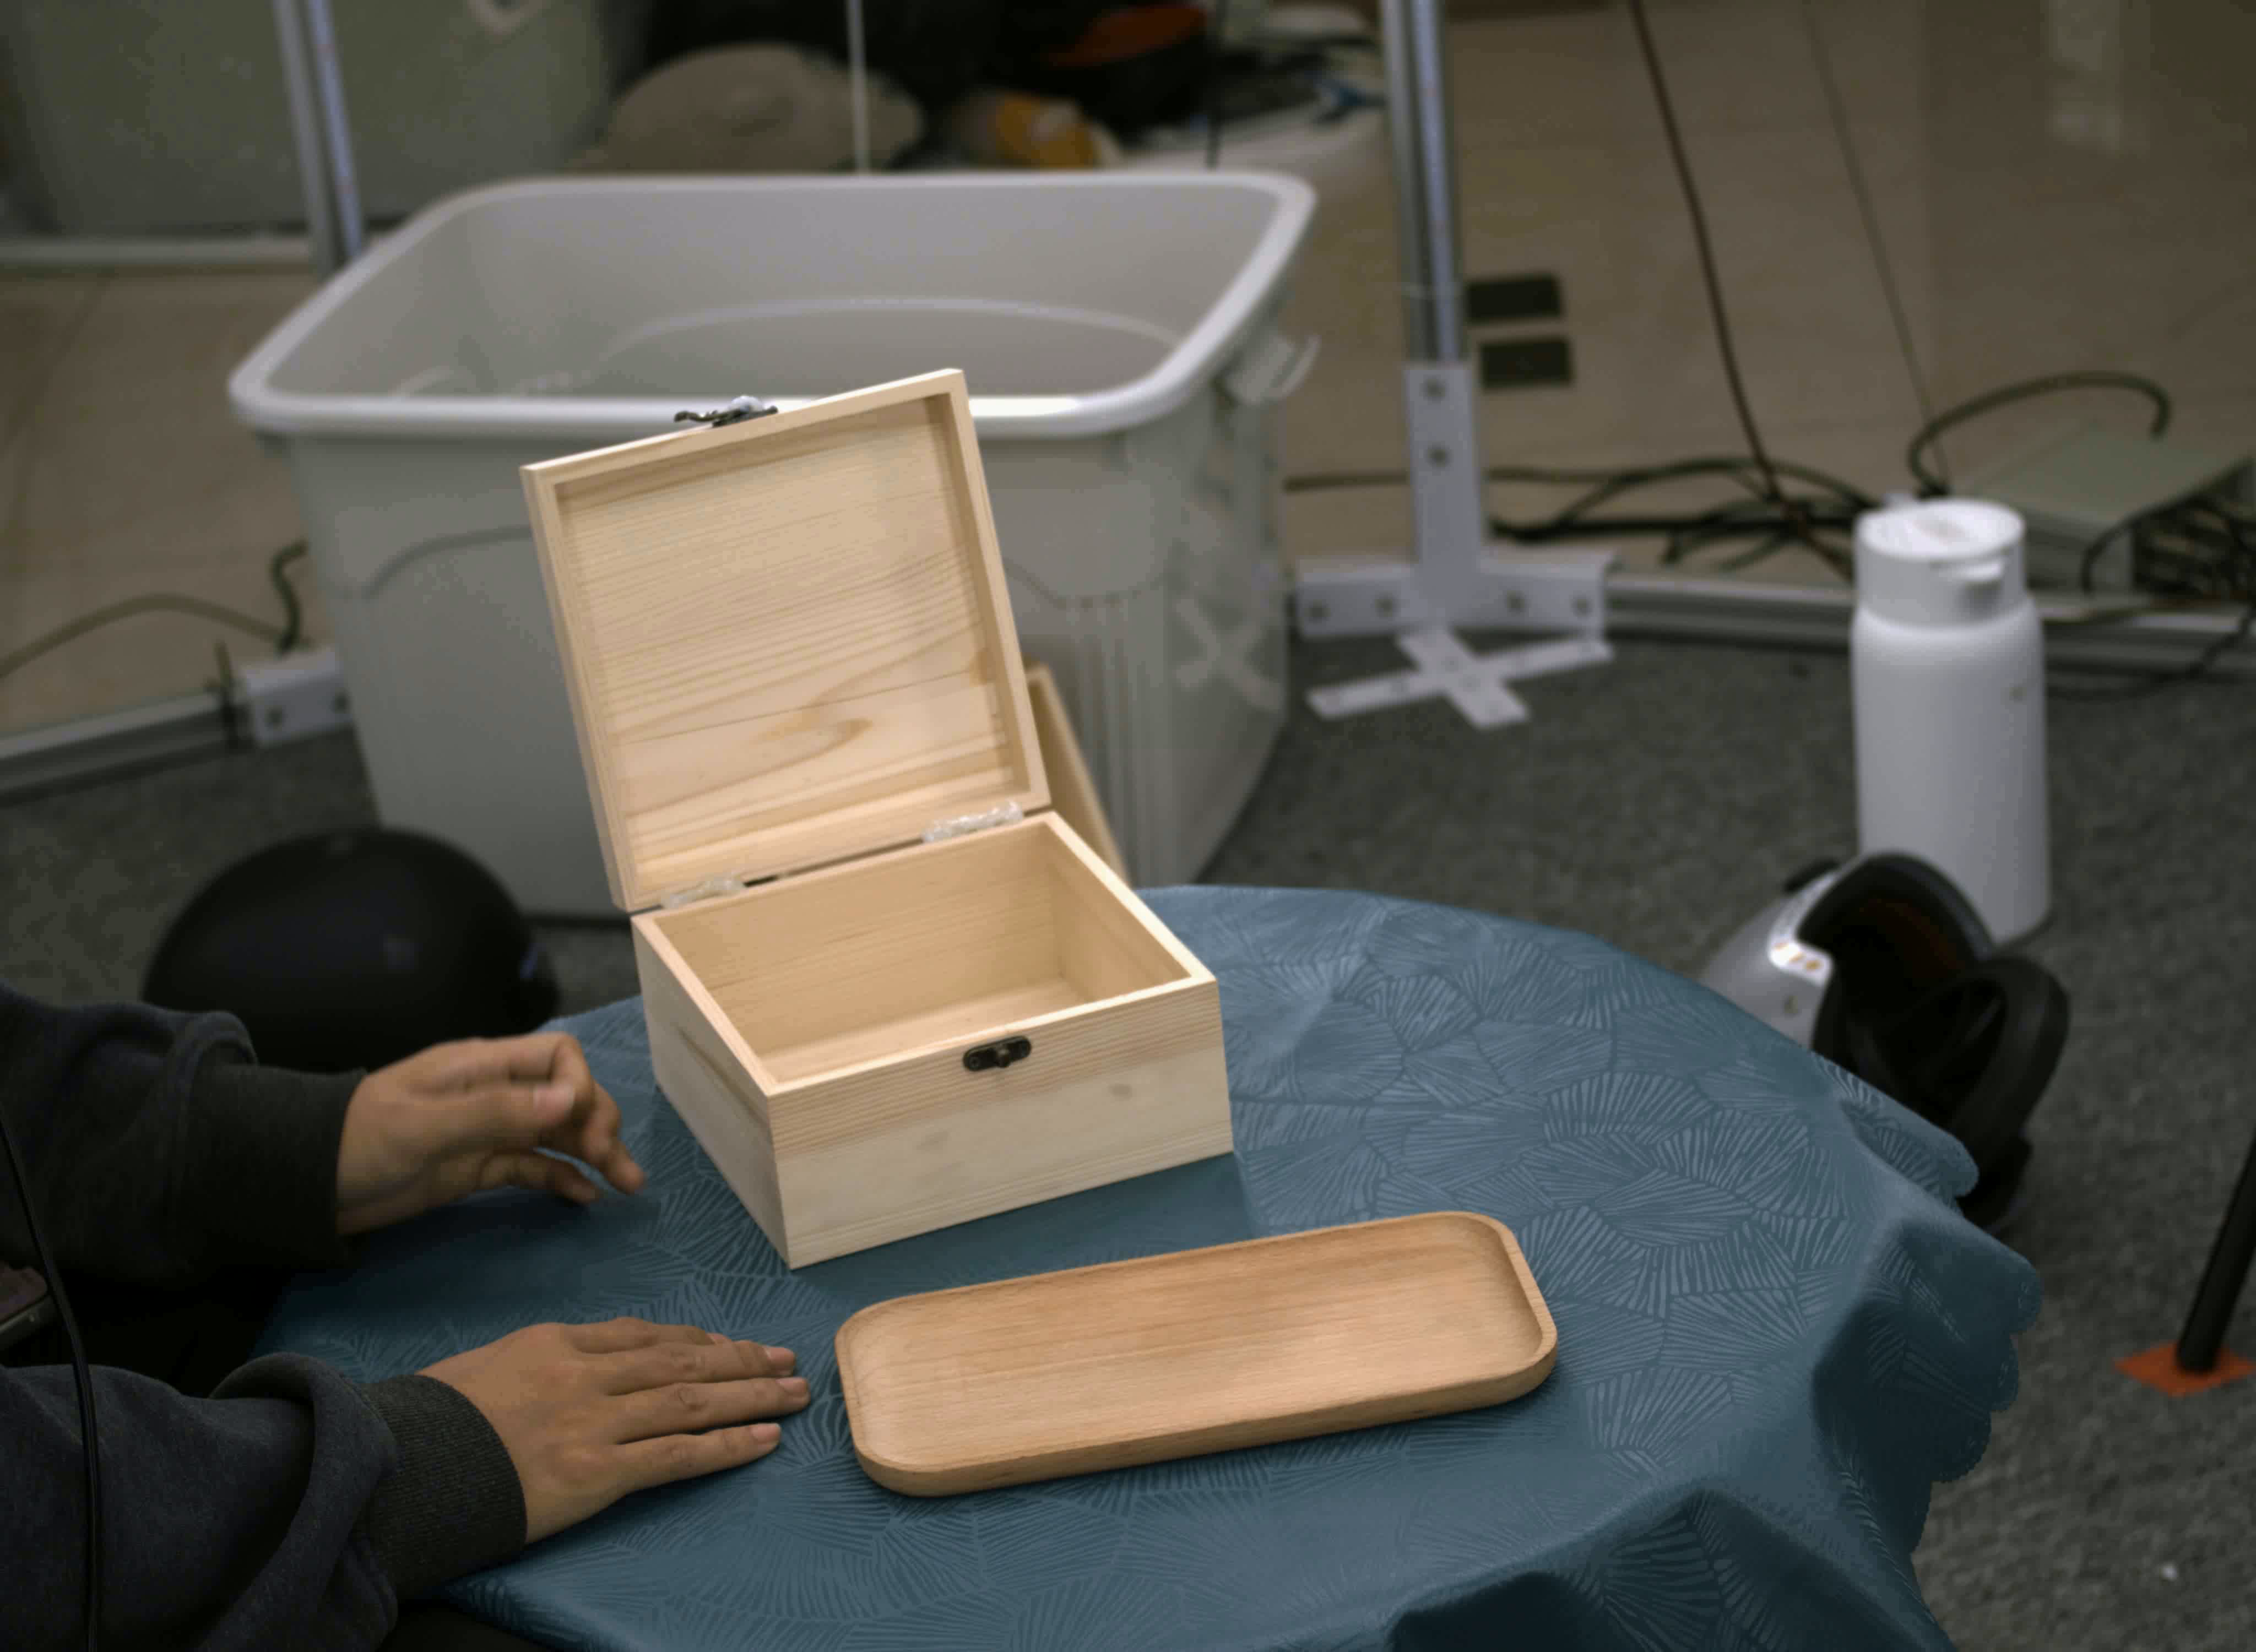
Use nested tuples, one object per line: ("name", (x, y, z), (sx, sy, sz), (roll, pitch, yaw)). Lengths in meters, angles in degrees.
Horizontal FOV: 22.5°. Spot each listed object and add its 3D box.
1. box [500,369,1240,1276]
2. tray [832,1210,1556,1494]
("box", (-0.101, -0.009, 2.194), (0.181, 0.257, 0.262), (-17, 26, -16))
("tray", (0.022, 0.187, 2.018), (0.250, 0.023, 0.129), (-9, 22, -5))
